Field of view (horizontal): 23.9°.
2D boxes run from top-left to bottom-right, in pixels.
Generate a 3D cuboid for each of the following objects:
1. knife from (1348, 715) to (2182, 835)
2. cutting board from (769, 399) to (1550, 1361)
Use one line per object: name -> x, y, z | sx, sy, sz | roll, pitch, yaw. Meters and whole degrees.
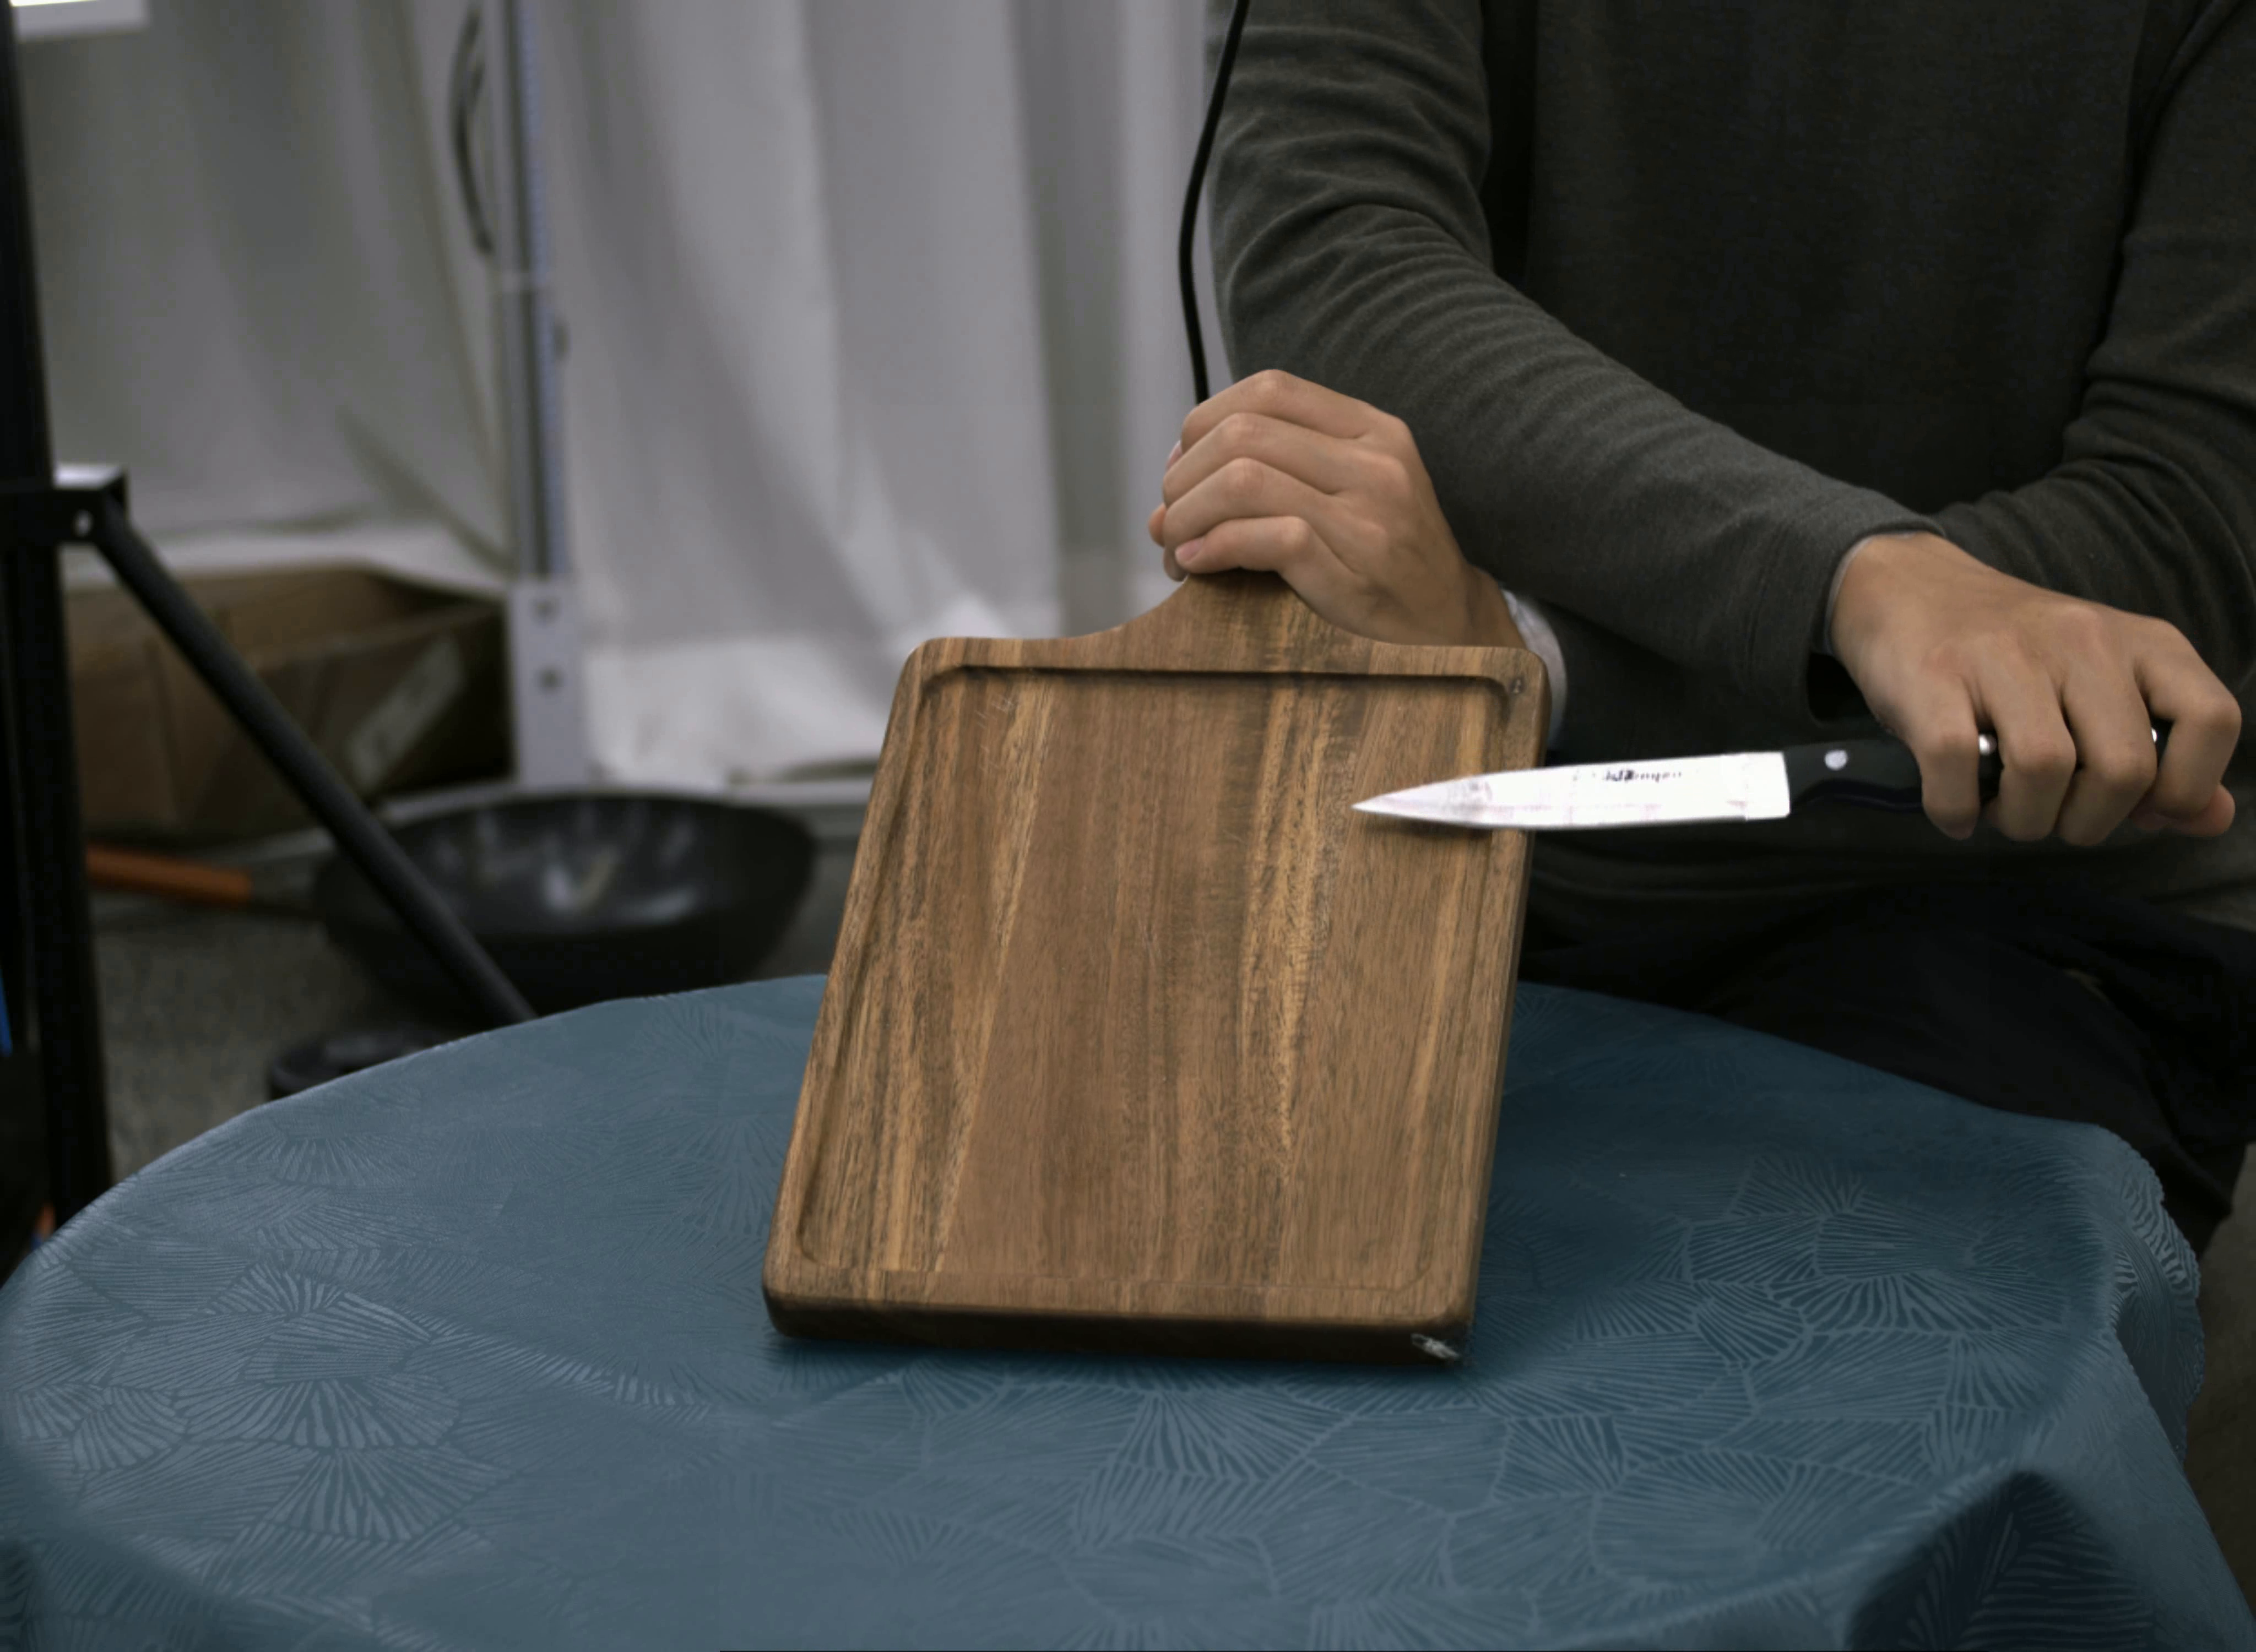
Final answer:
knife -> 0.180, -0.012, 1.508 | 0.239, 0.016, 0.024 | -5, 50, 11
cutting board -> 0.020, 0.006, 1.544 | 0.202, 0.023, 0.354 | 0, 48, 12
